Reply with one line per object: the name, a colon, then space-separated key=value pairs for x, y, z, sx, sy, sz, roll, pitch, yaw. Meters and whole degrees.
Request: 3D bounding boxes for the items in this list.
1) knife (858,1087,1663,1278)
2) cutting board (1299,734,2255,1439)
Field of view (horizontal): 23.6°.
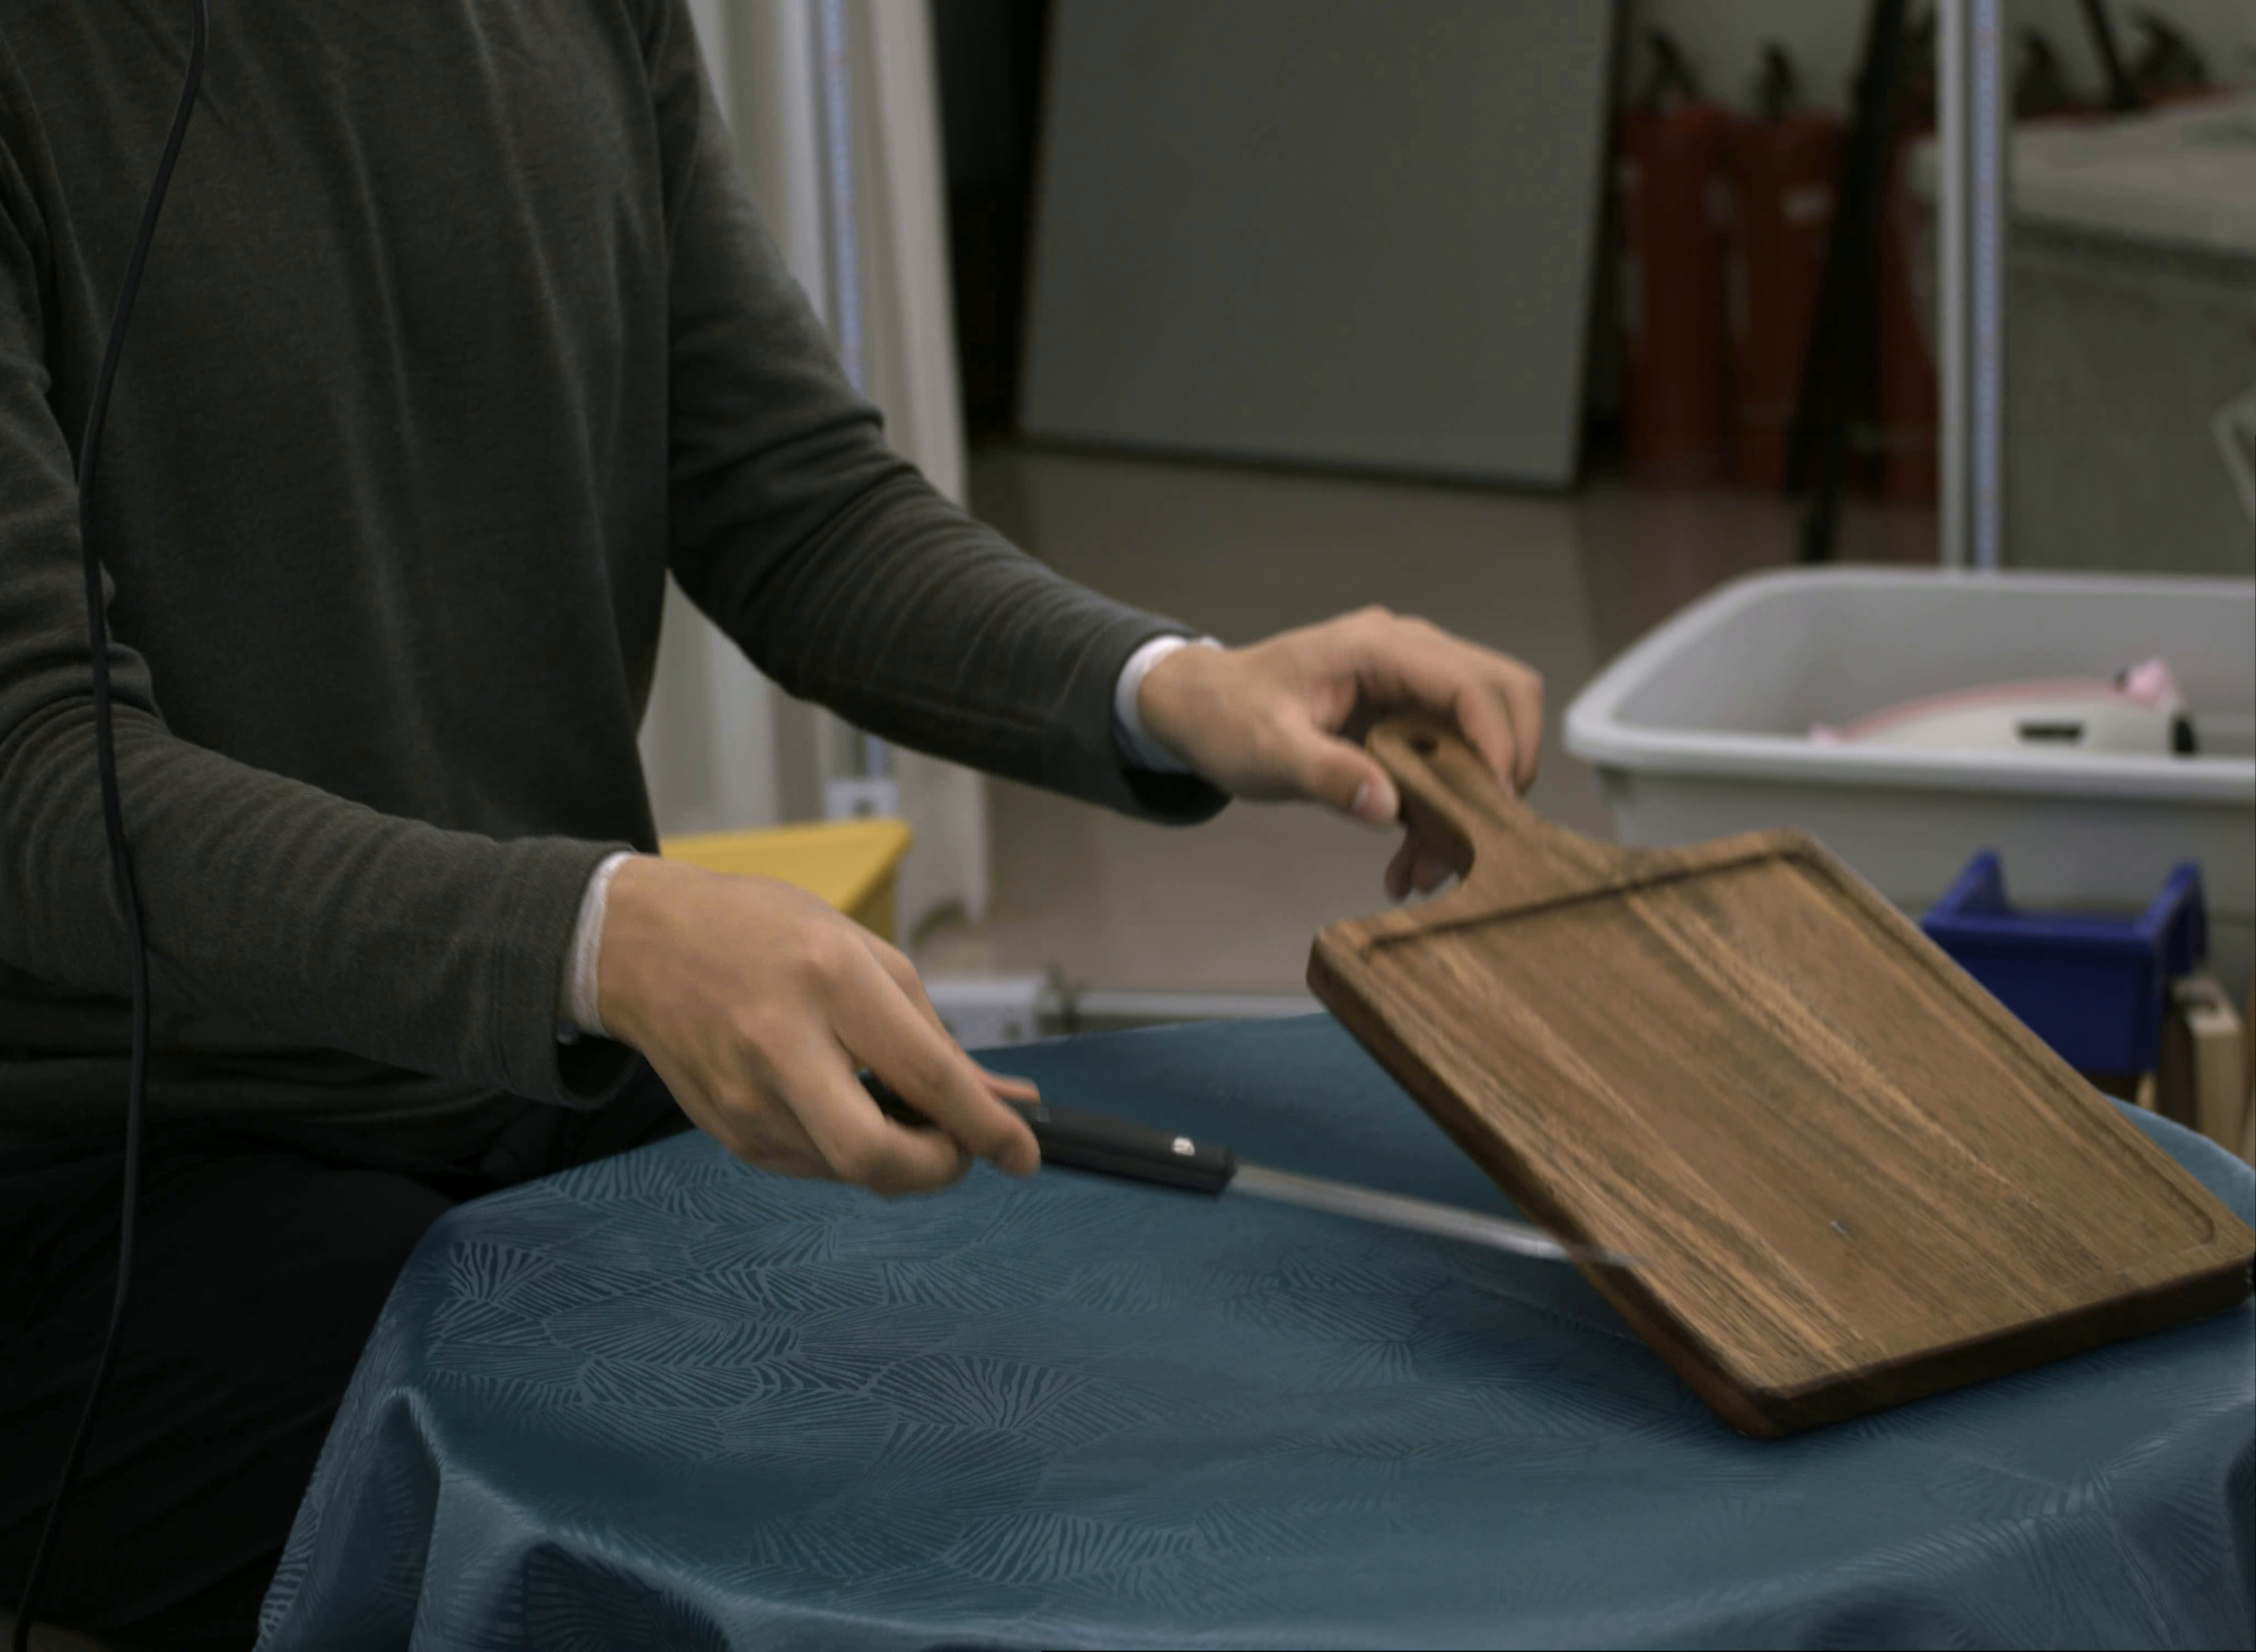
knife: x=0.036 y=0.105 z=1.531 sx=0.236 sy=0.016 sz=0.024 roll=11 pitch=20 yaw=9
cutting board: x=0.172 y=0.063 z=1.670 sx=0.196 sy=0.023 sz=0.356 roll=-12 pitch=35 yaw=-29
